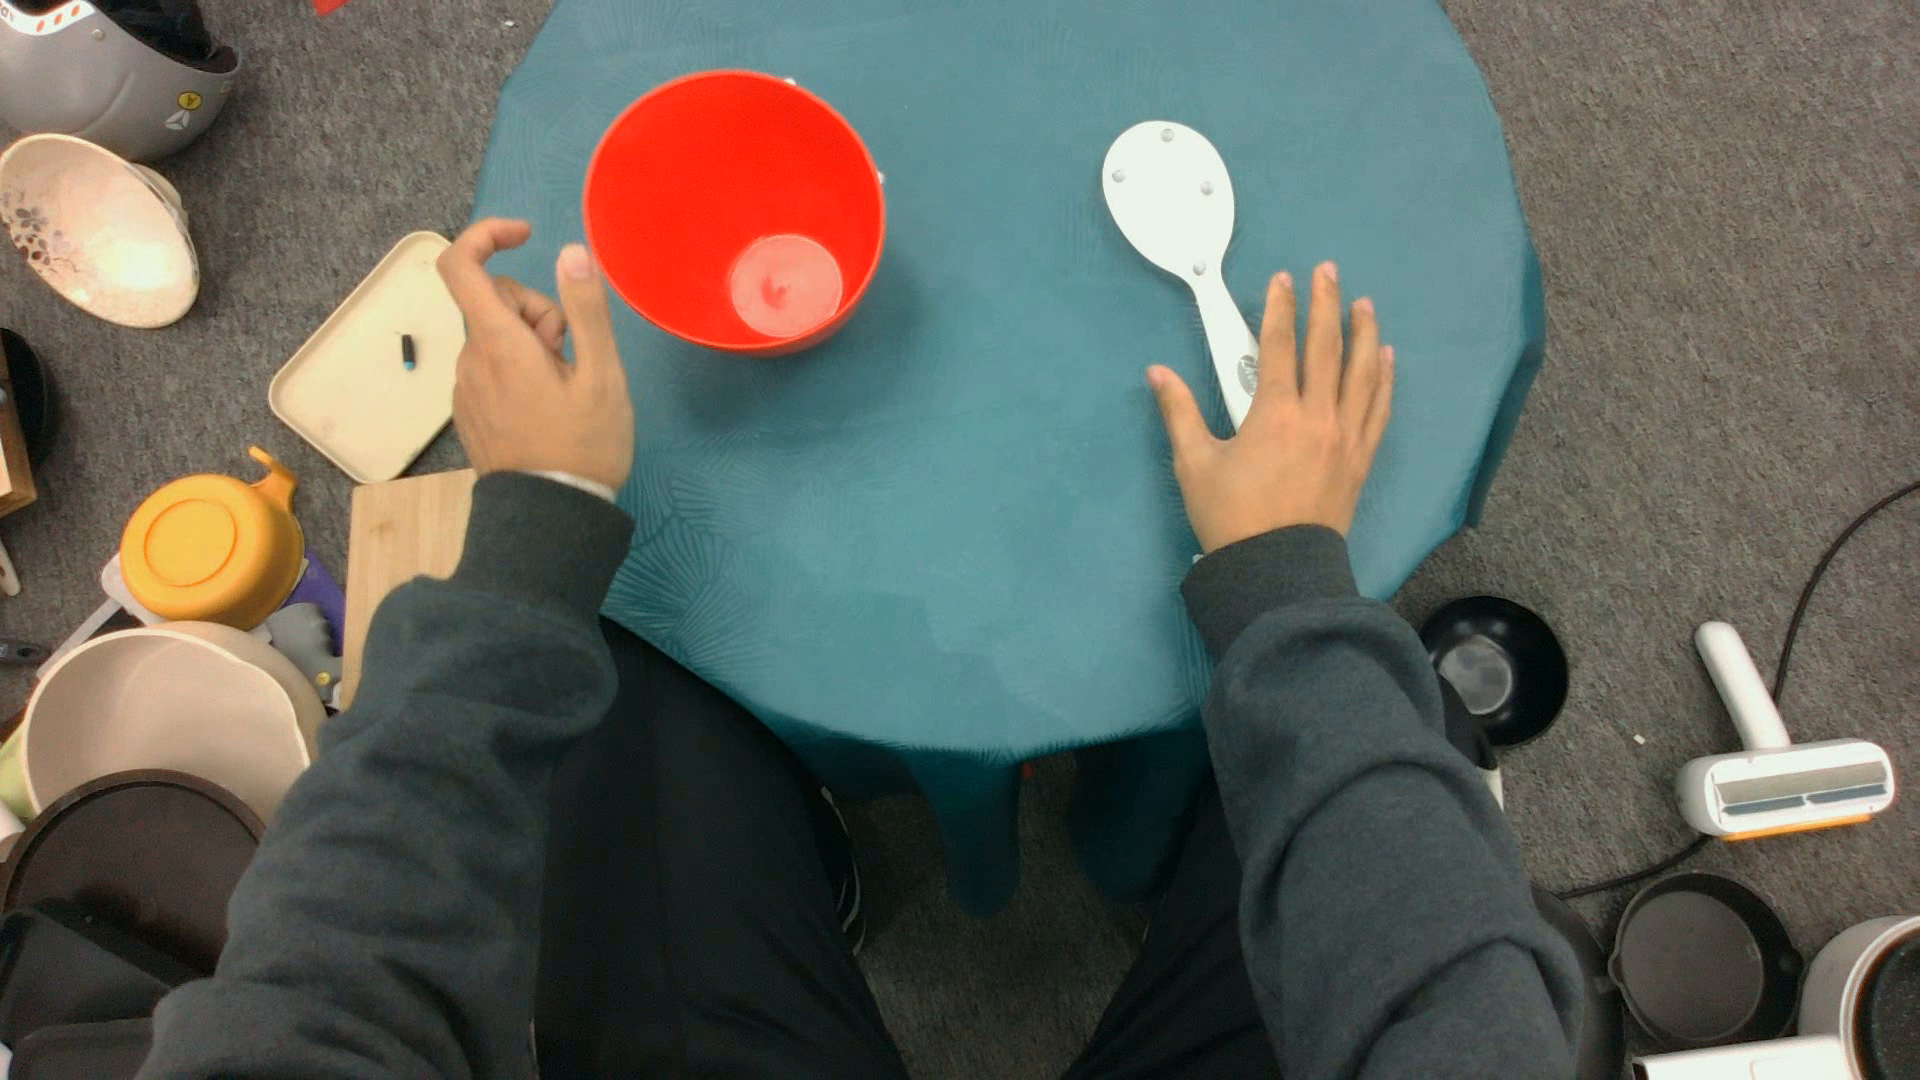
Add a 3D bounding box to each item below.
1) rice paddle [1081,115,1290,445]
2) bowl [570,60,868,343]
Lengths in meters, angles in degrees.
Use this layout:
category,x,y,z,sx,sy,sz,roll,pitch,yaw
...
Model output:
category,x,y,z,sx,sy,sz,roll,pitch,yaw
rice paddle,0.125,-0.150,0.758,0.069,0.029,0.205,-20,76,-5
bowl,-0.119,-0.165,0.733,0.148,0.104,0.148,0,76,0
